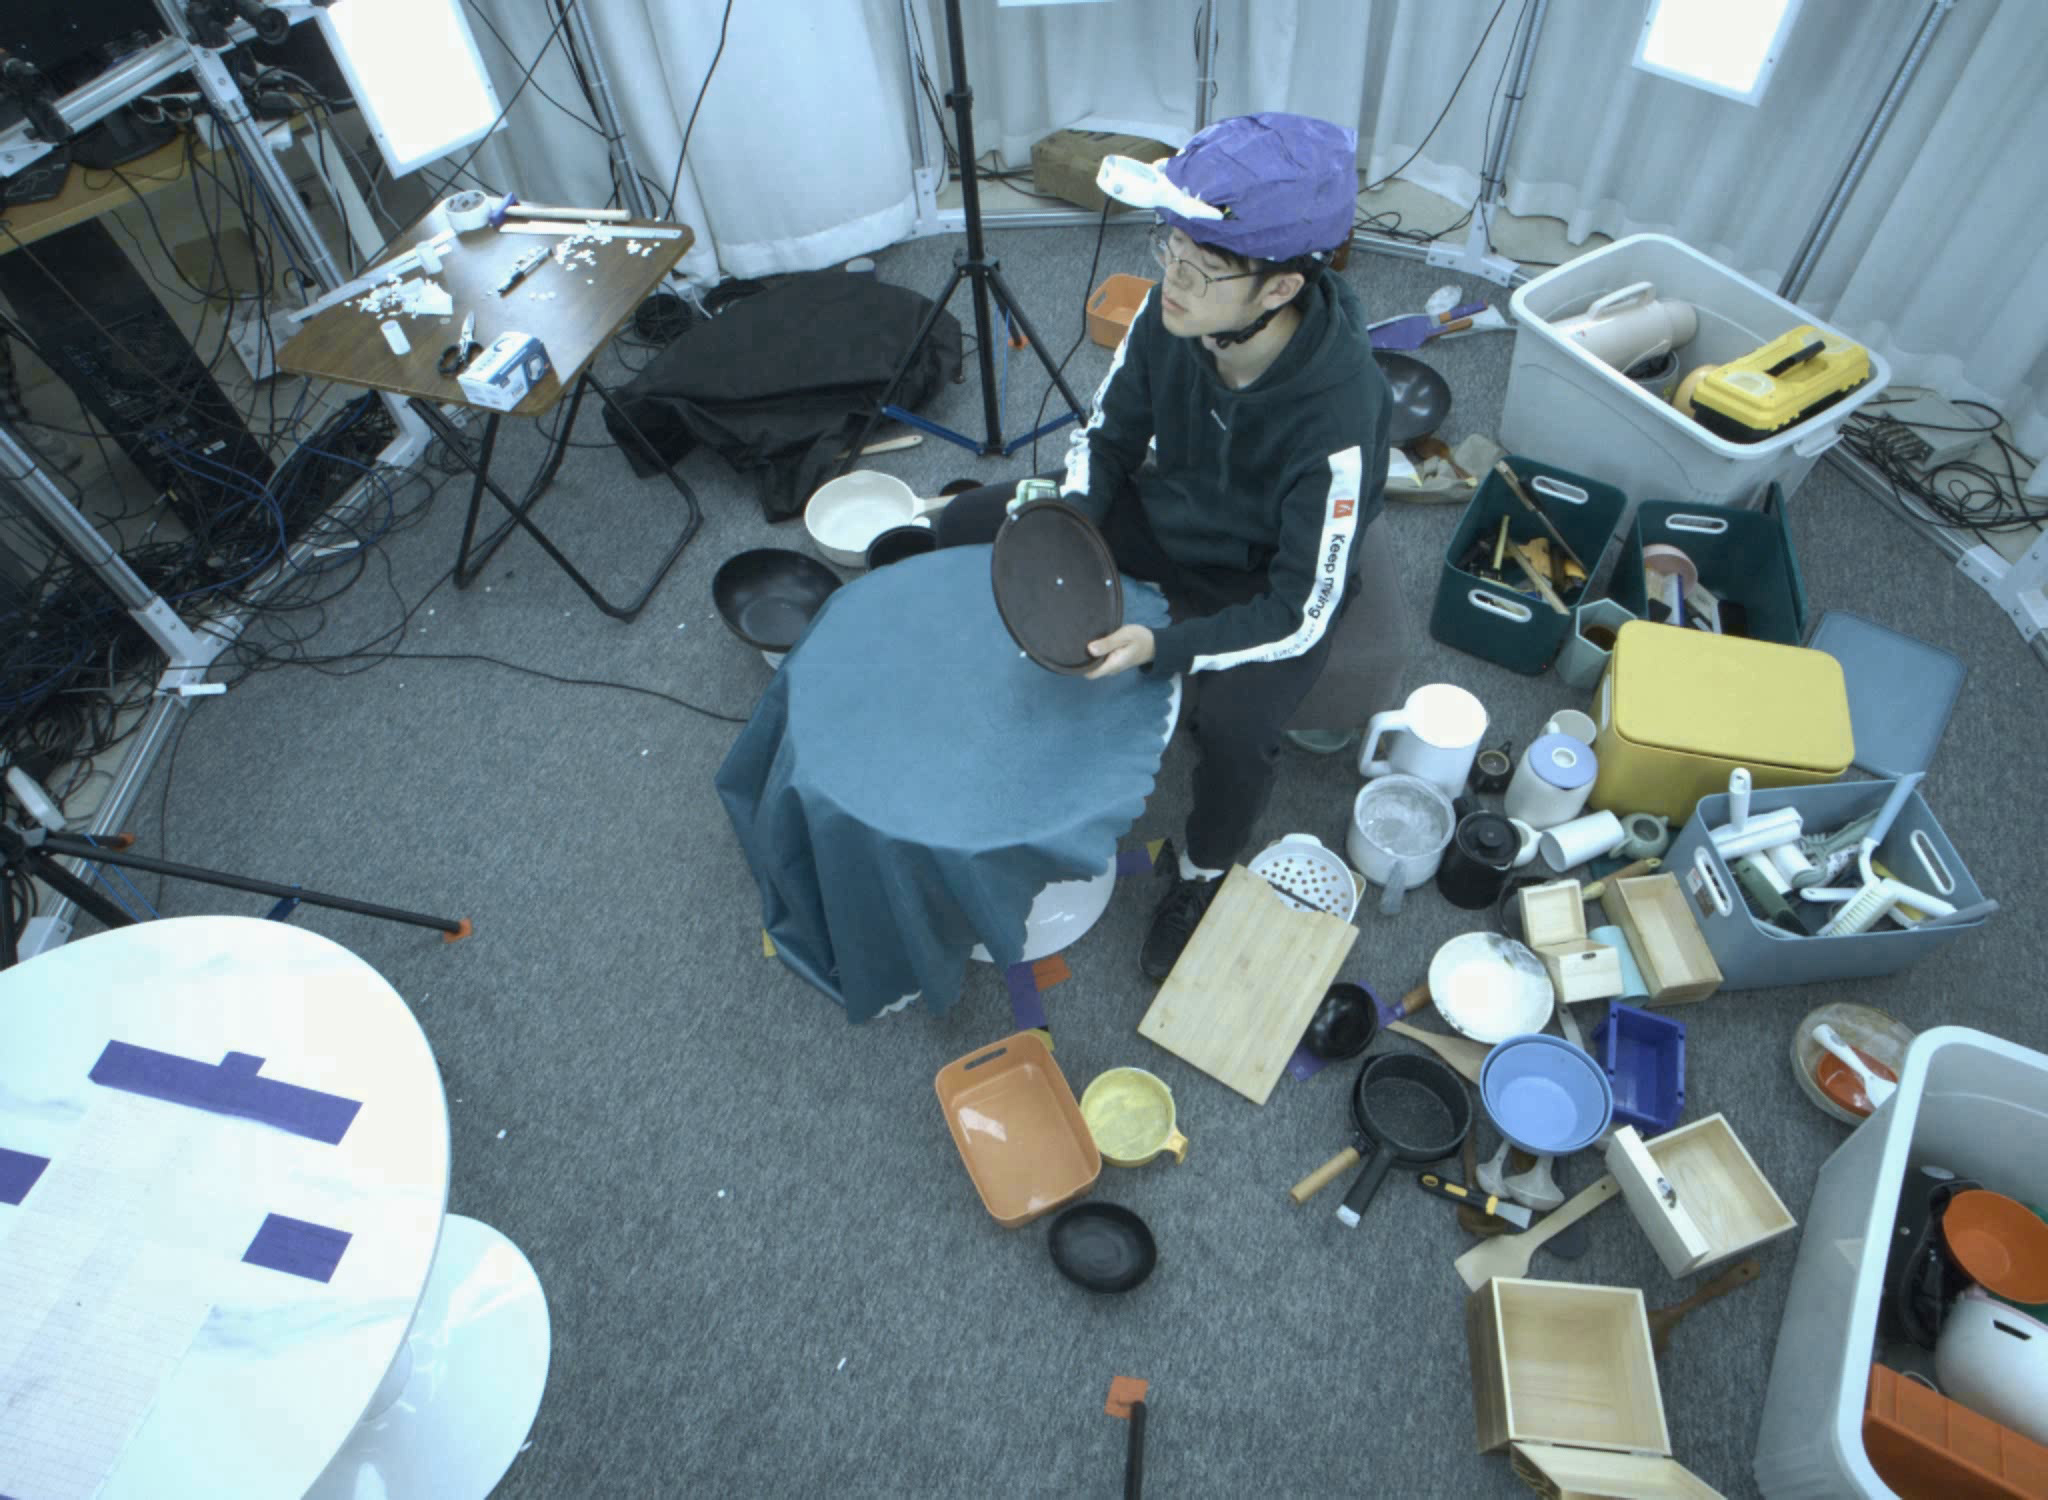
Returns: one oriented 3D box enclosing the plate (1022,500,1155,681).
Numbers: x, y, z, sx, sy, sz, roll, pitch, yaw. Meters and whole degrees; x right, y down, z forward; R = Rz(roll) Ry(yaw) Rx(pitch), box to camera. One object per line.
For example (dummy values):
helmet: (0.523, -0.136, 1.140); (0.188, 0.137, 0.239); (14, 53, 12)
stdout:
plate: (0.090, -0.219, 1.692); (0.028, 0.260, 0.255); (-9, 43, 46)

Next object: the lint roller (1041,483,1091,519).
lint roller: (0.073, -0.290, 1.800); (0.081, 0.199, 0.185); (6, 12, 16)
